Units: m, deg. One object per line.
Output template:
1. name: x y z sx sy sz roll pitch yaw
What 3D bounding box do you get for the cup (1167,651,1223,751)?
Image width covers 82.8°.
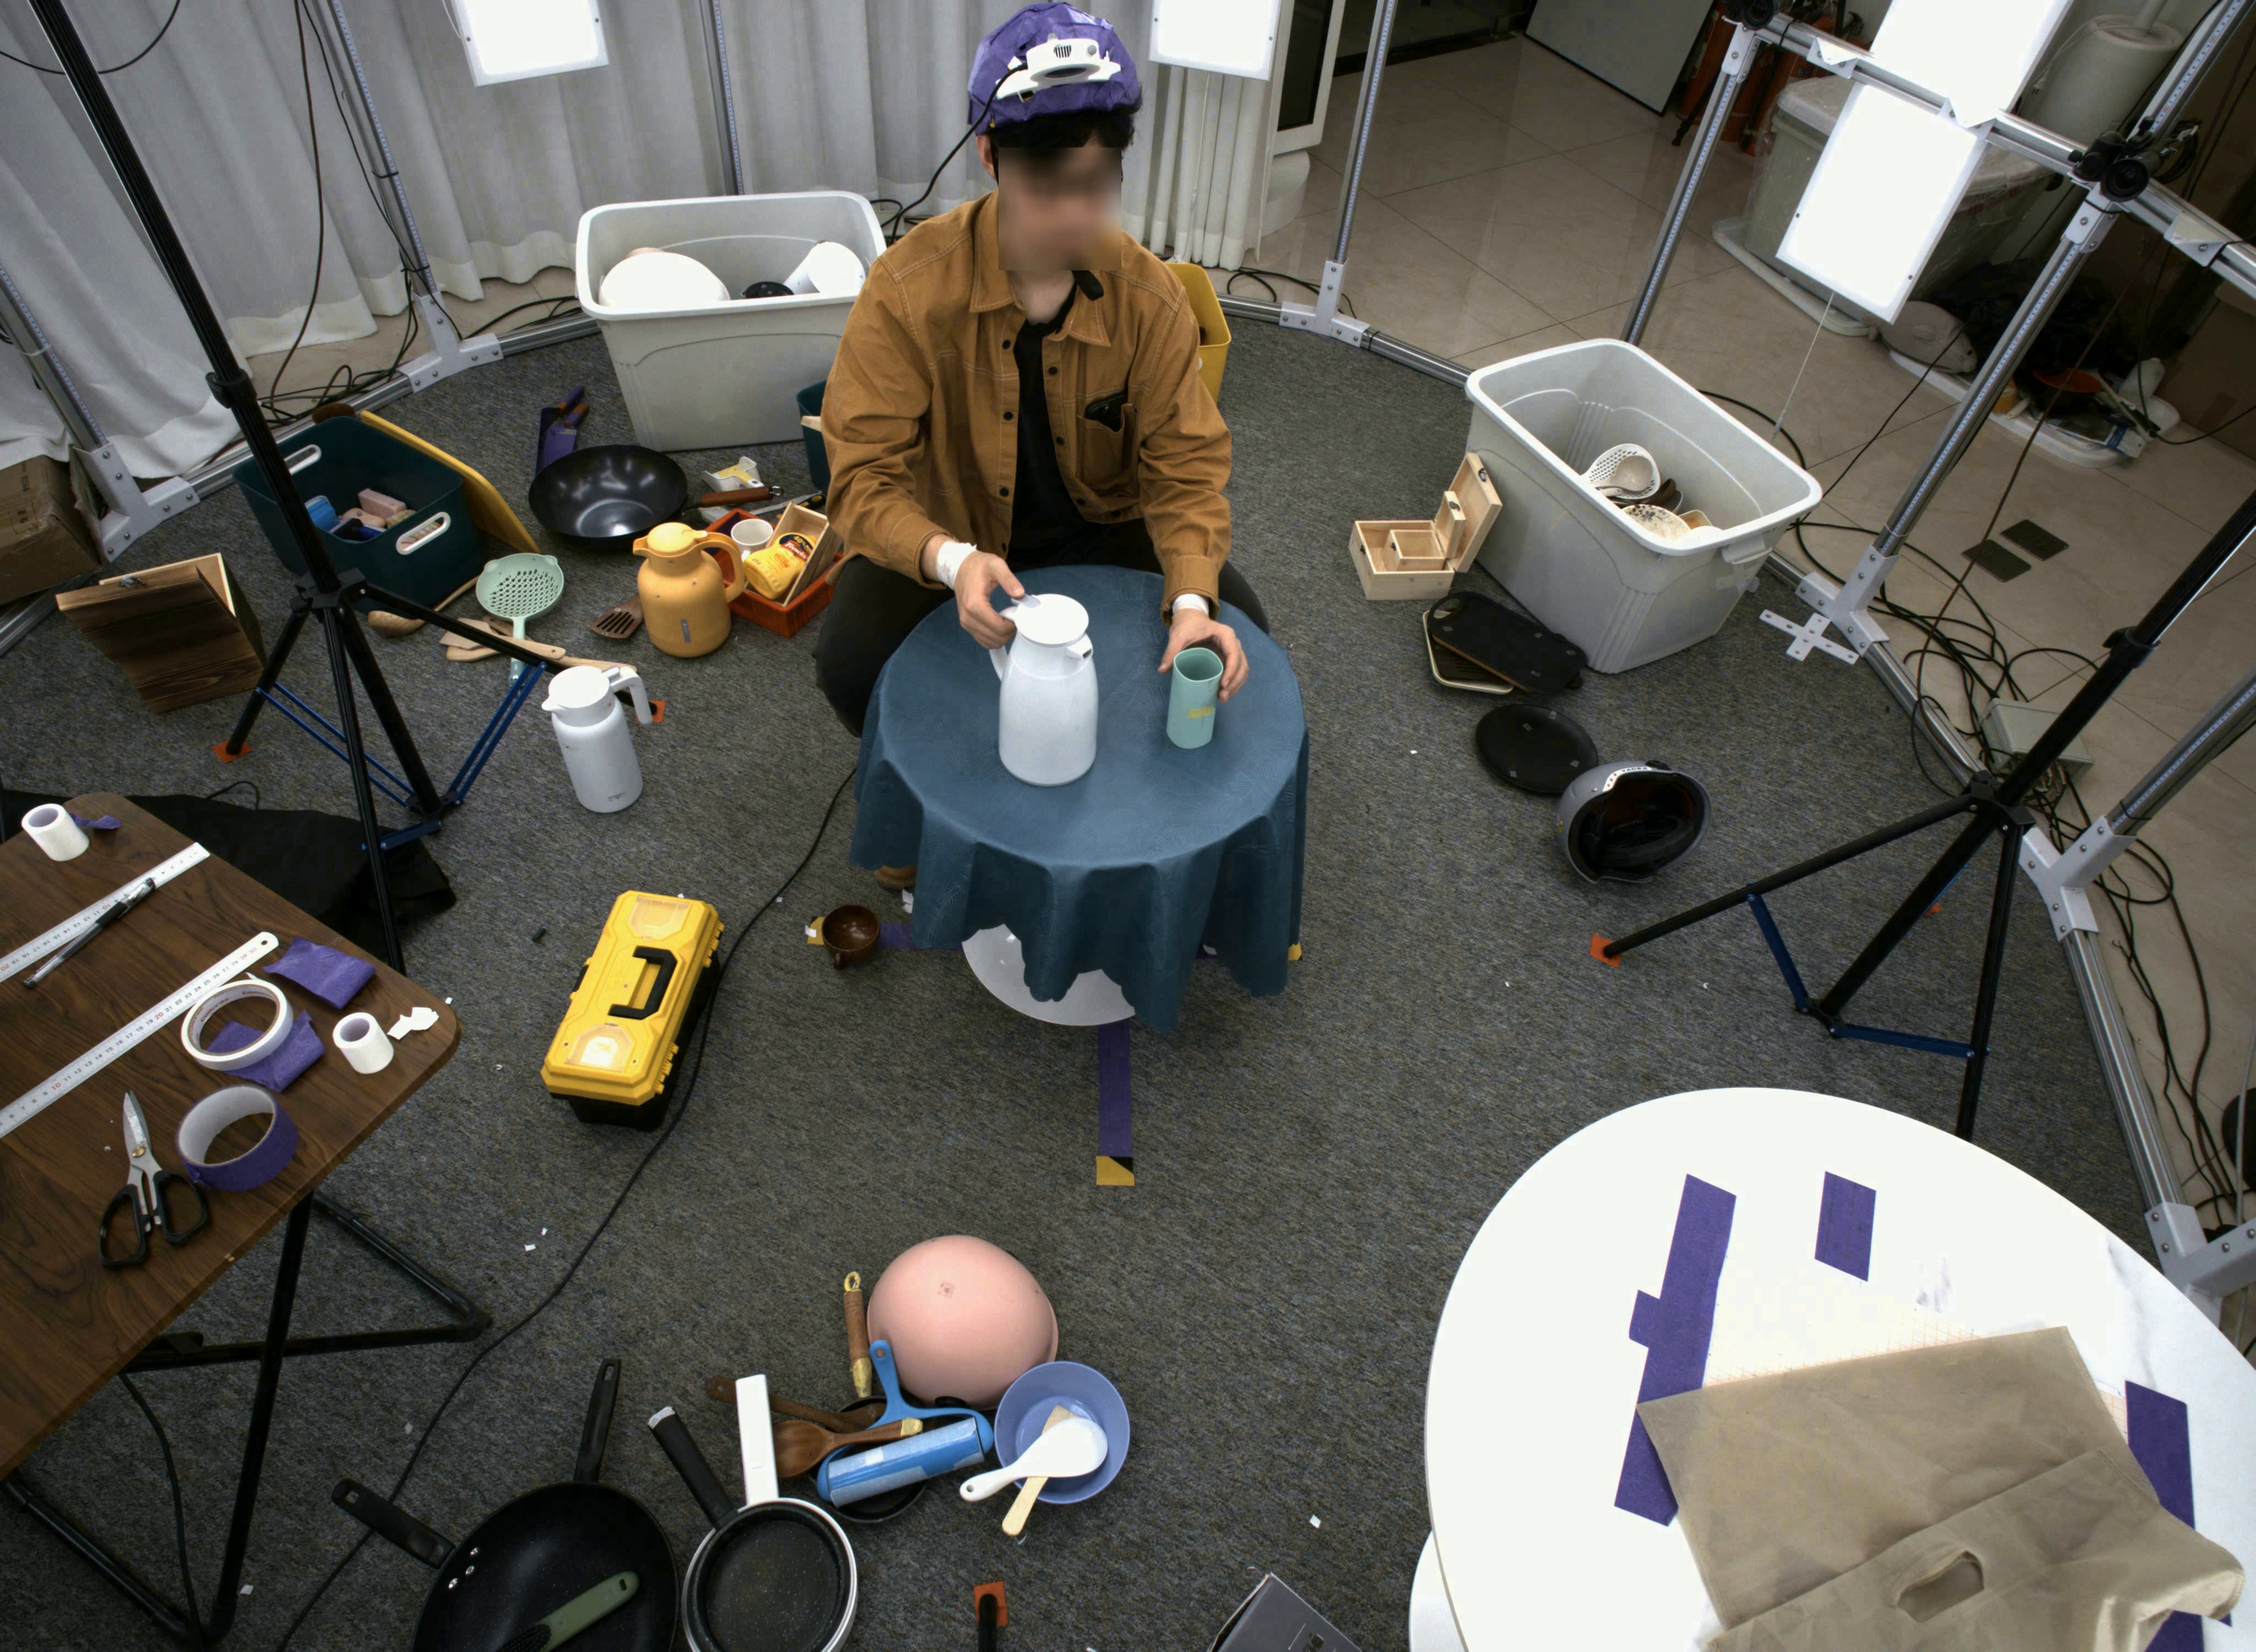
1. cup: 0.089 -0.170 1.742 0.066 0.129 0.068 2 50 -3

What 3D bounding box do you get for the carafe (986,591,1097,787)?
1. carafe: -0.118 -0.190 1.667 0.170 0.242 0.134 35 56 24
